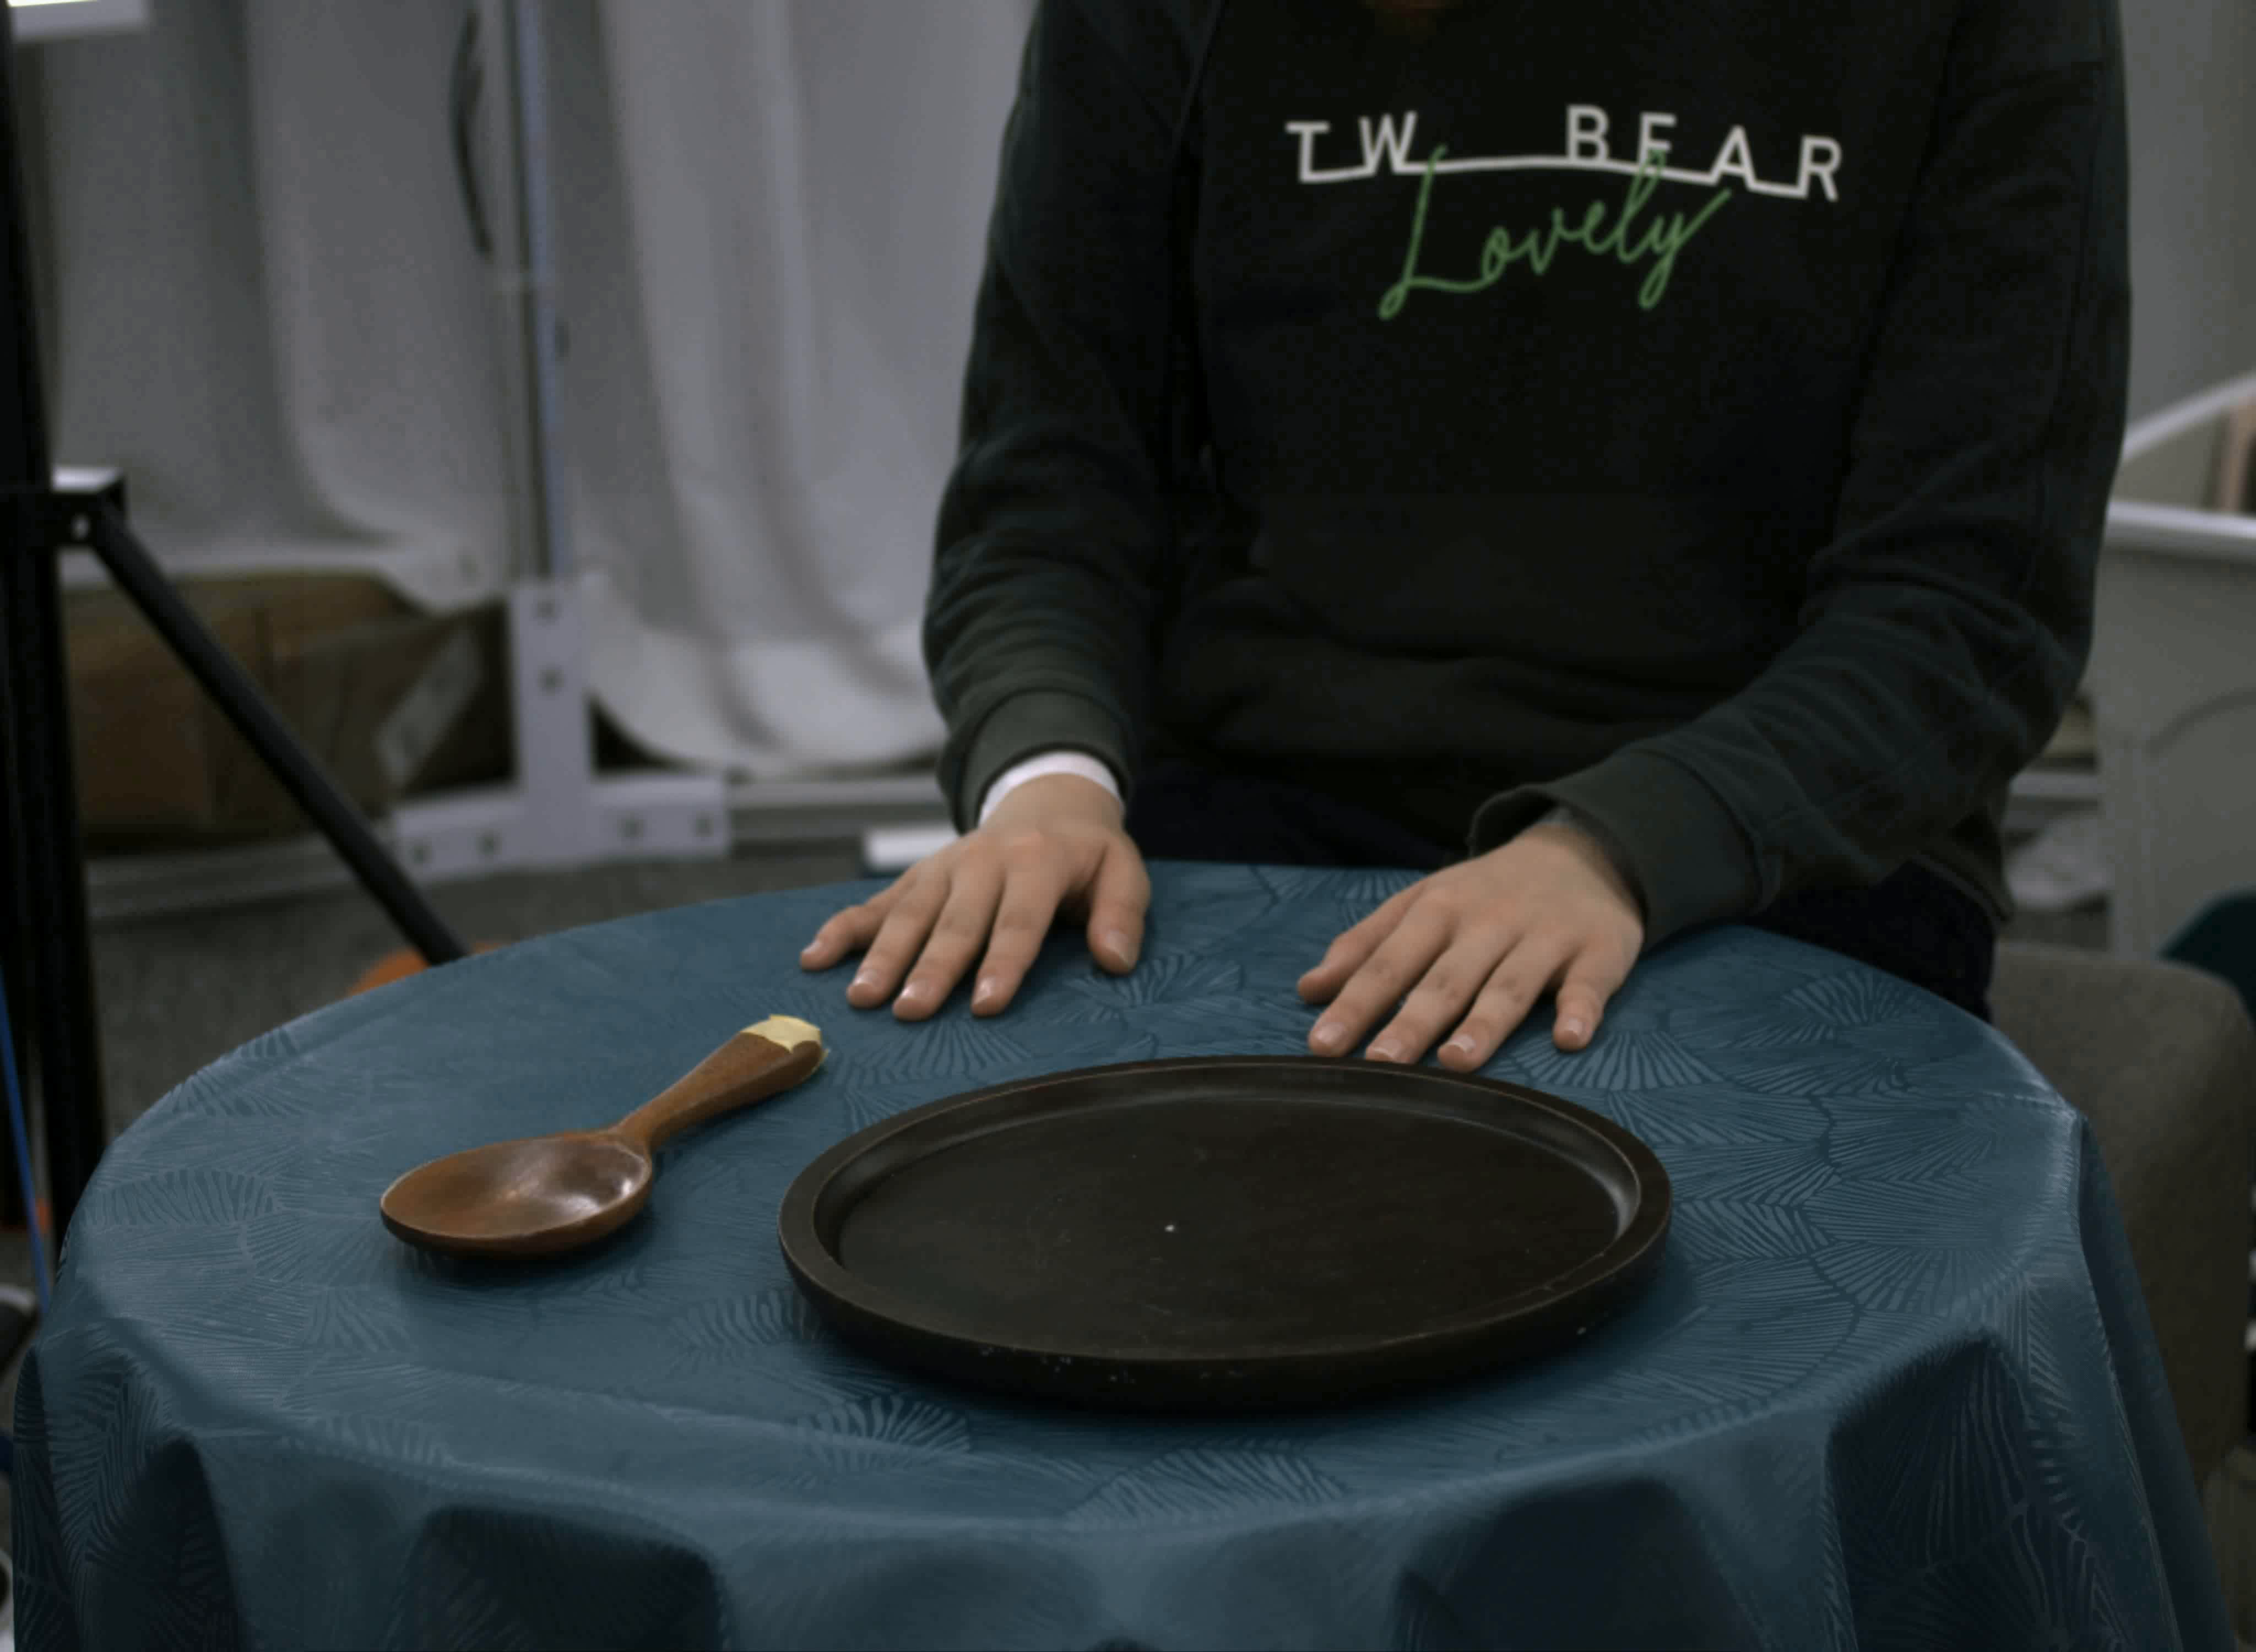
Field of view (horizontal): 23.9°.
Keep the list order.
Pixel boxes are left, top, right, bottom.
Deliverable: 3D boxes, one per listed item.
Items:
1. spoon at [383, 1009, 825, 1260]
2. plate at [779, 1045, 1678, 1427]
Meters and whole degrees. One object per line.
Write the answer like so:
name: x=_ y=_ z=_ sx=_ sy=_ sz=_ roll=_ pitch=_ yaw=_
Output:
spoon: x=-0.148 y=0.094 z=1.601 sx=0.076 sy=0.017 sz=0.212 roll=5 pitch=18 yaw=25
plate: x=0.028 y=0.114 z=1.491 sx=0.253 sy=0.029 sz=0.256 roll=-3 pitch=17 yaw=-1
